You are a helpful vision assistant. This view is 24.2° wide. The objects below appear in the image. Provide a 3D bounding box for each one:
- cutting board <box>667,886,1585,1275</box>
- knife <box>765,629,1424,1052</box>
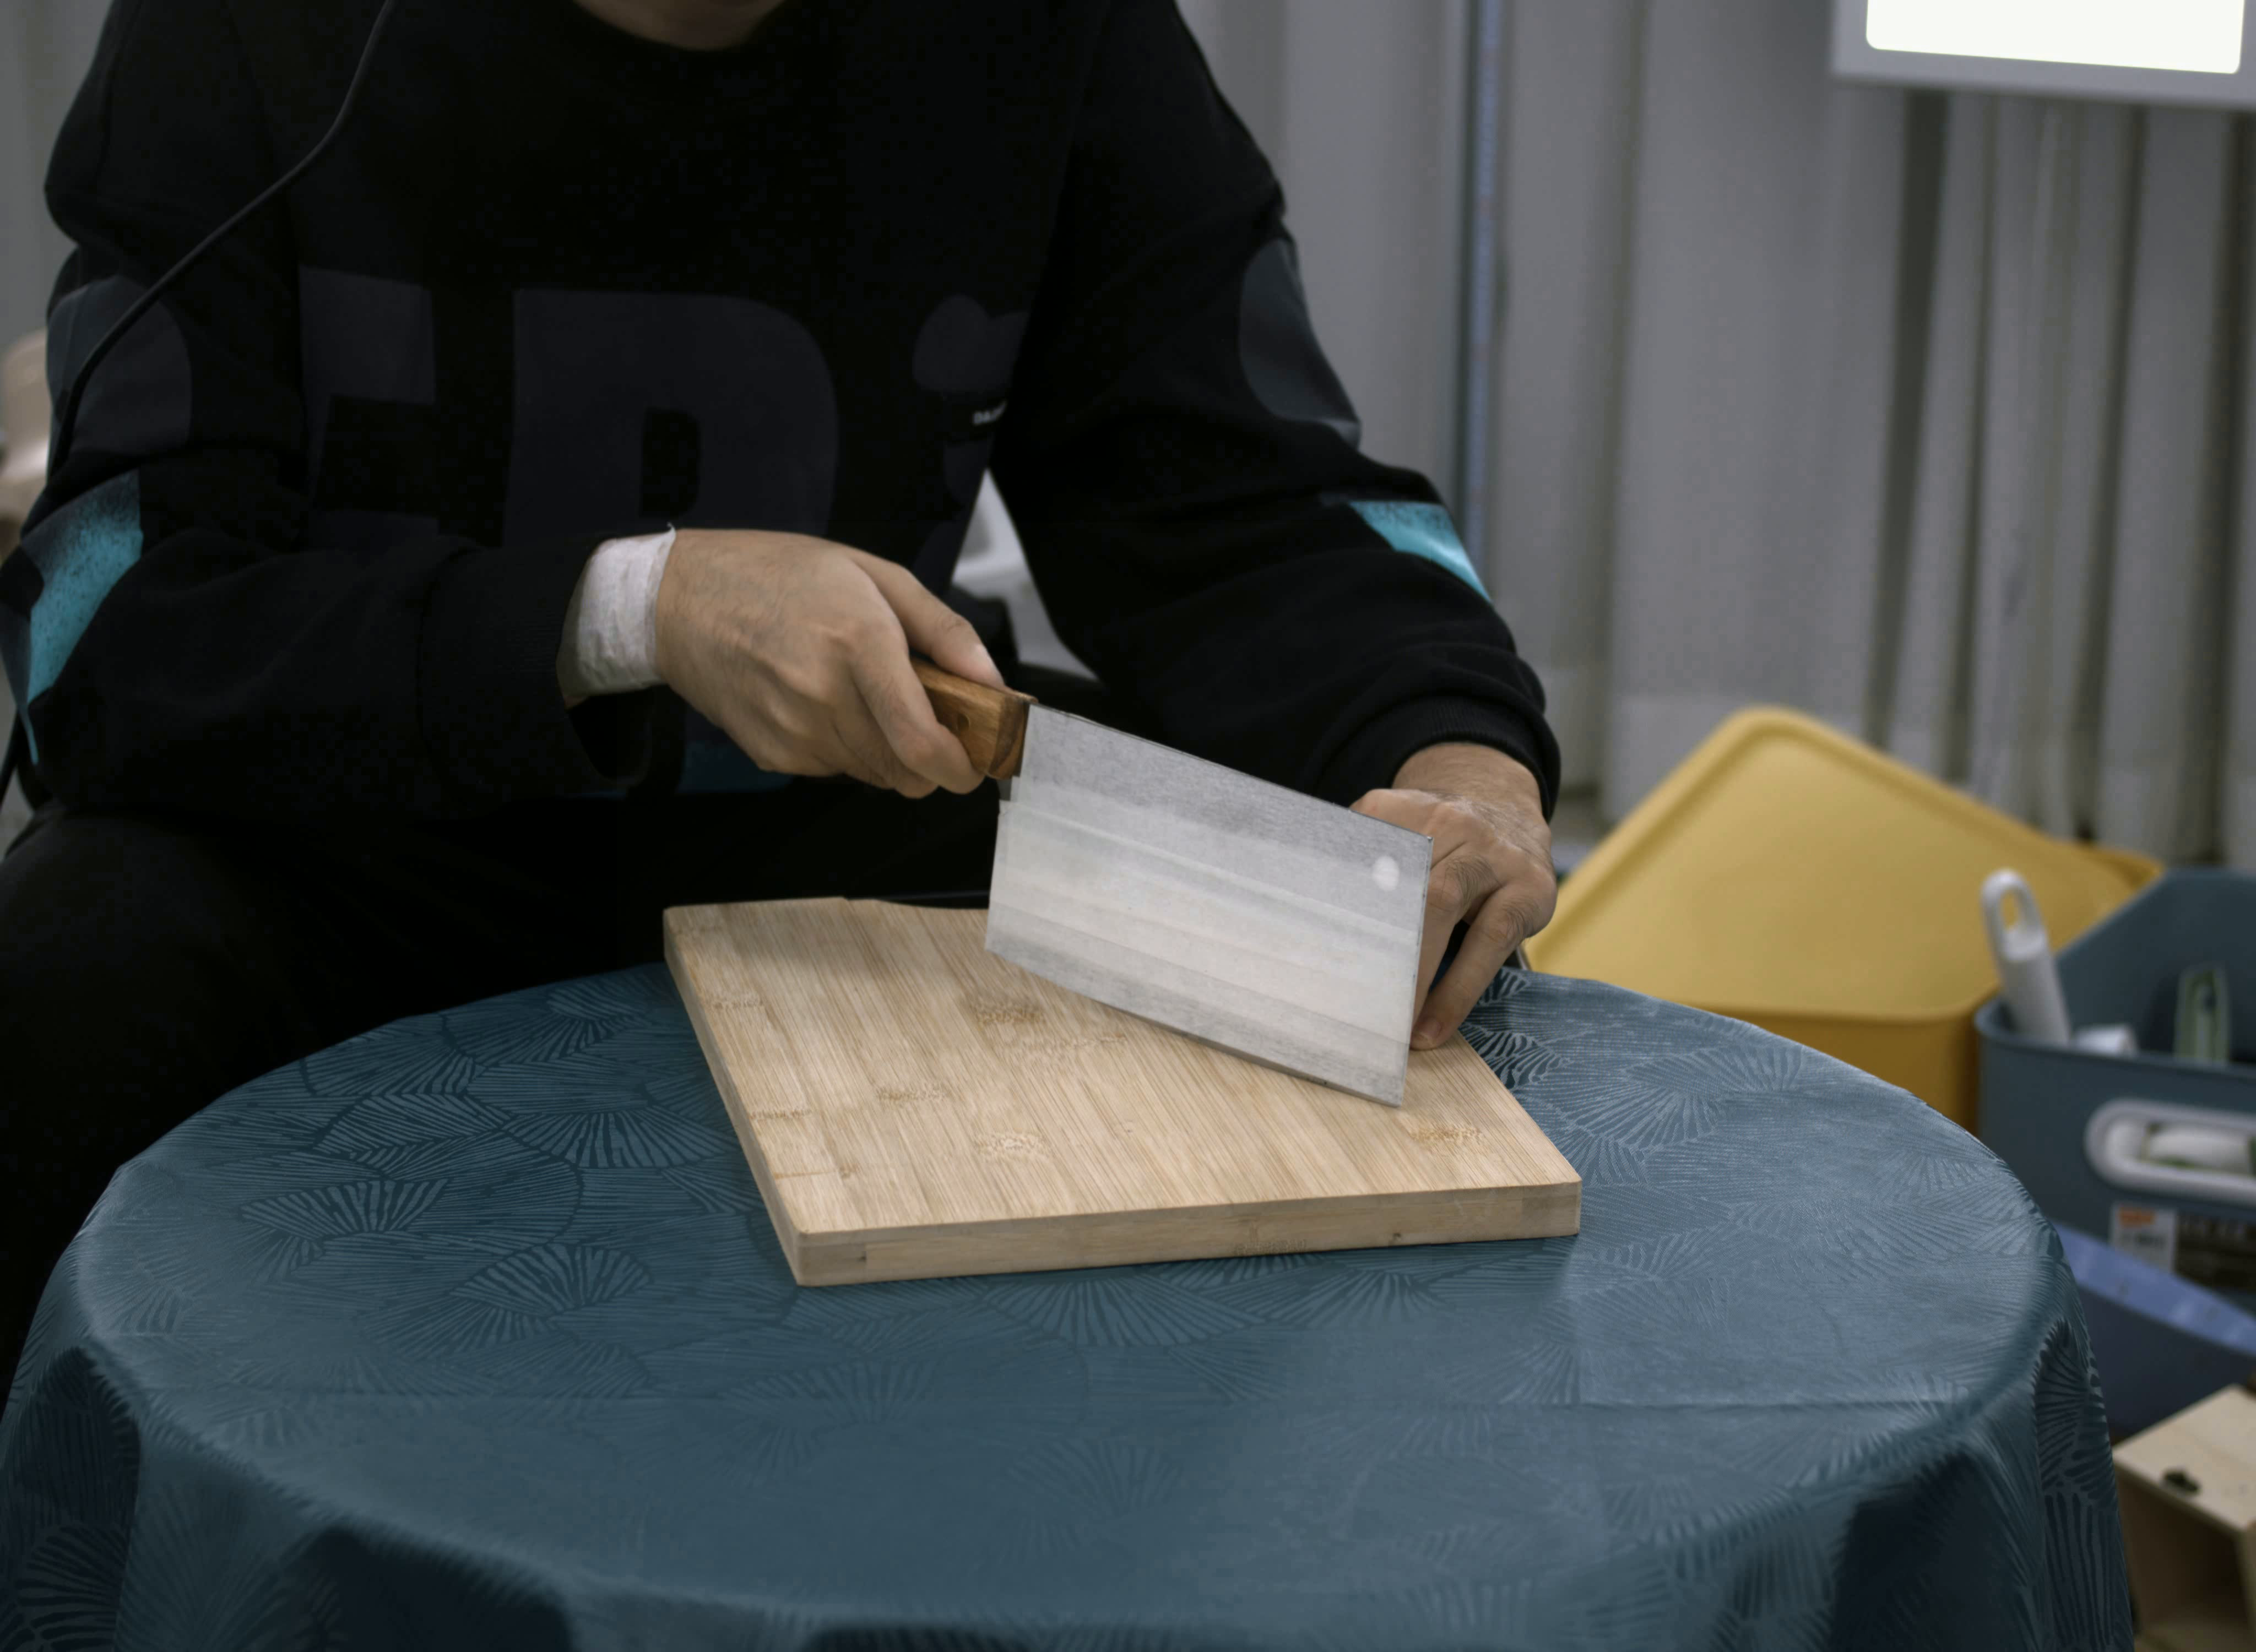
[{"bbox_3d":[-0.012,0.075,1.724,0.251,0.024,0.345,-3,16,-12],"label":"cutting board"},{"bbox_3d":[-0.017,0.005,1.728,0.301,0.093,0.021,19,21,41],"label":"knife"}]
